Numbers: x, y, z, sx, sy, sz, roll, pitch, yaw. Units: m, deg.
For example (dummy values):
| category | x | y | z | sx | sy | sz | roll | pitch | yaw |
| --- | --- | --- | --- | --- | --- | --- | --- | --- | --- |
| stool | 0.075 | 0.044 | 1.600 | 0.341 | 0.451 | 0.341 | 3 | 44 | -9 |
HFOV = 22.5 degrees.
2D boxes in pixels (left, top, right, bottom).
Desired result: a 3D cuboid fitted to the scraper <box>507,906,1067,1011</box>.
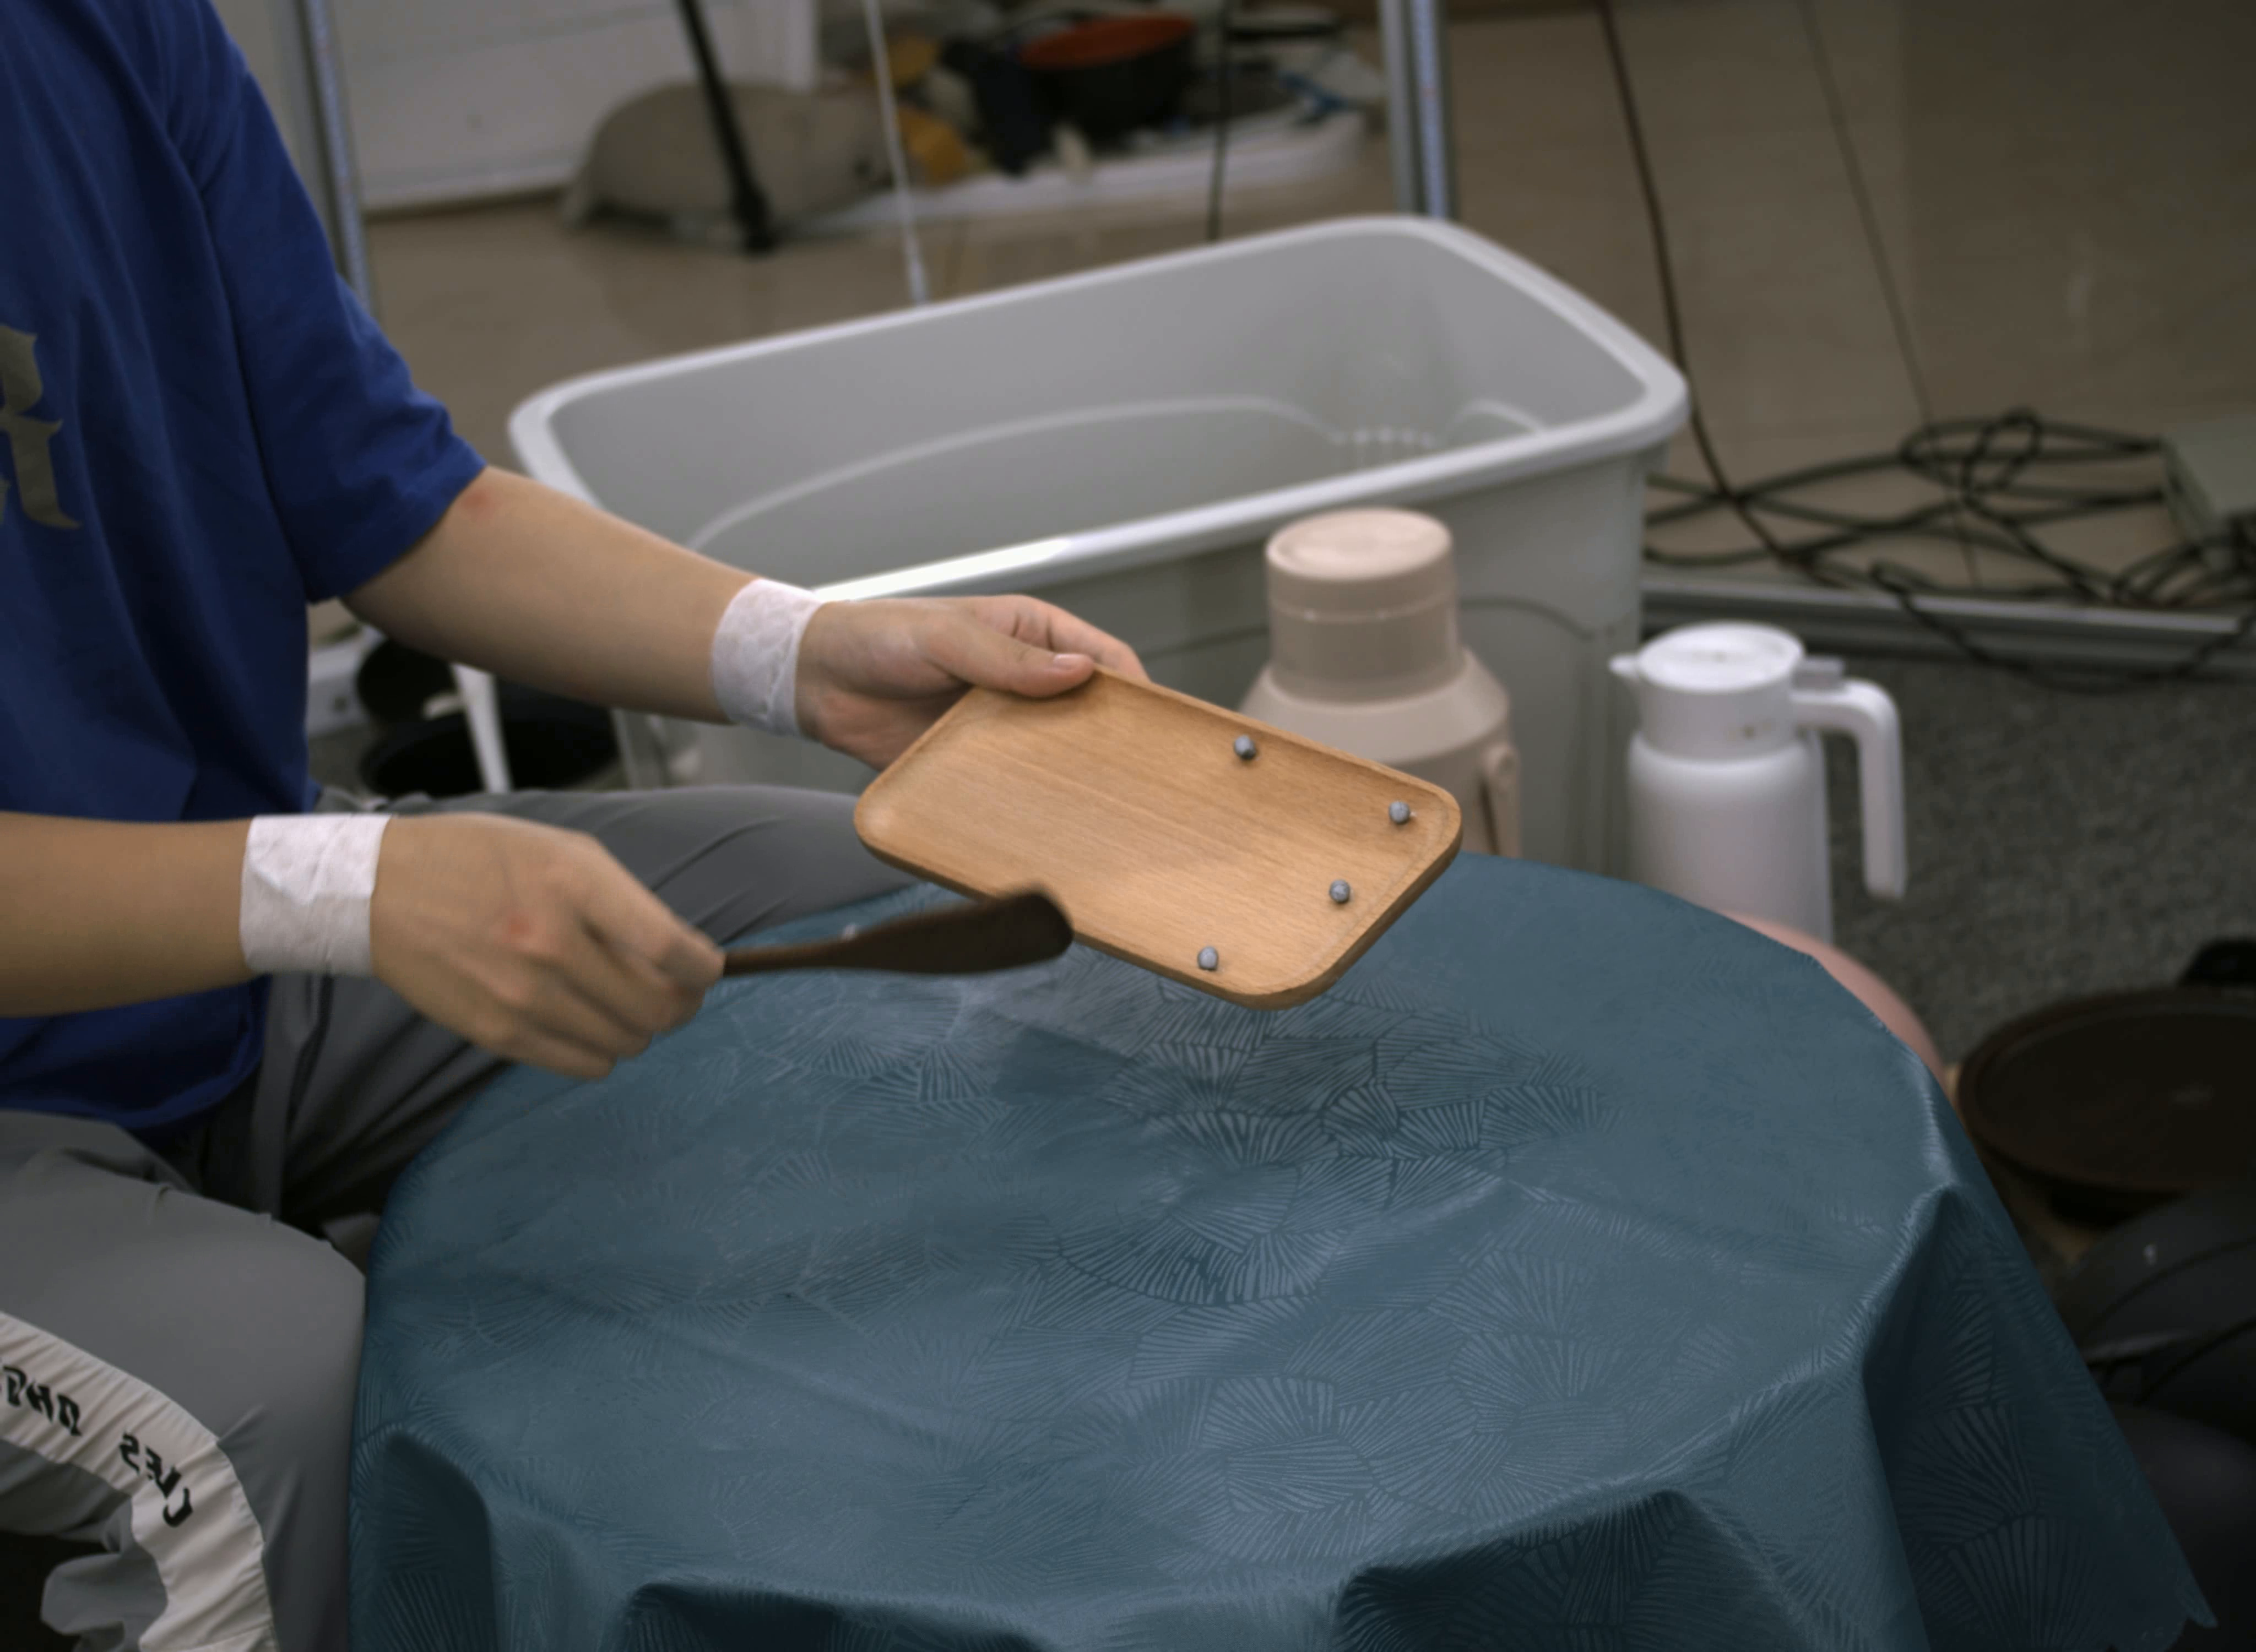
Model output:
| category | x | y | z | sx | sy | sz | roll | pitch | yaw |
| --- | --- | --- | --- | --- | --- | --- | --- | --- | --- |
| scraper | -0.128 | 0.054 | 2.107 | 0.211 | 0.011 | 0.076 | -6 | -18 | 10 |

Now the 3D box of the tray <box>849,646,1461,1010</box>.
| category | x | y | z | sx | sy | sz | roll | pitch | yaw |
| --- | --- | --- | --- | --- | --- | --- | --- | --- | --- |
| tray | 0.009 | -0.001 | 2.219 | 0.248 | 0.023 | 0.129 | 22 | 52 | 40 |
